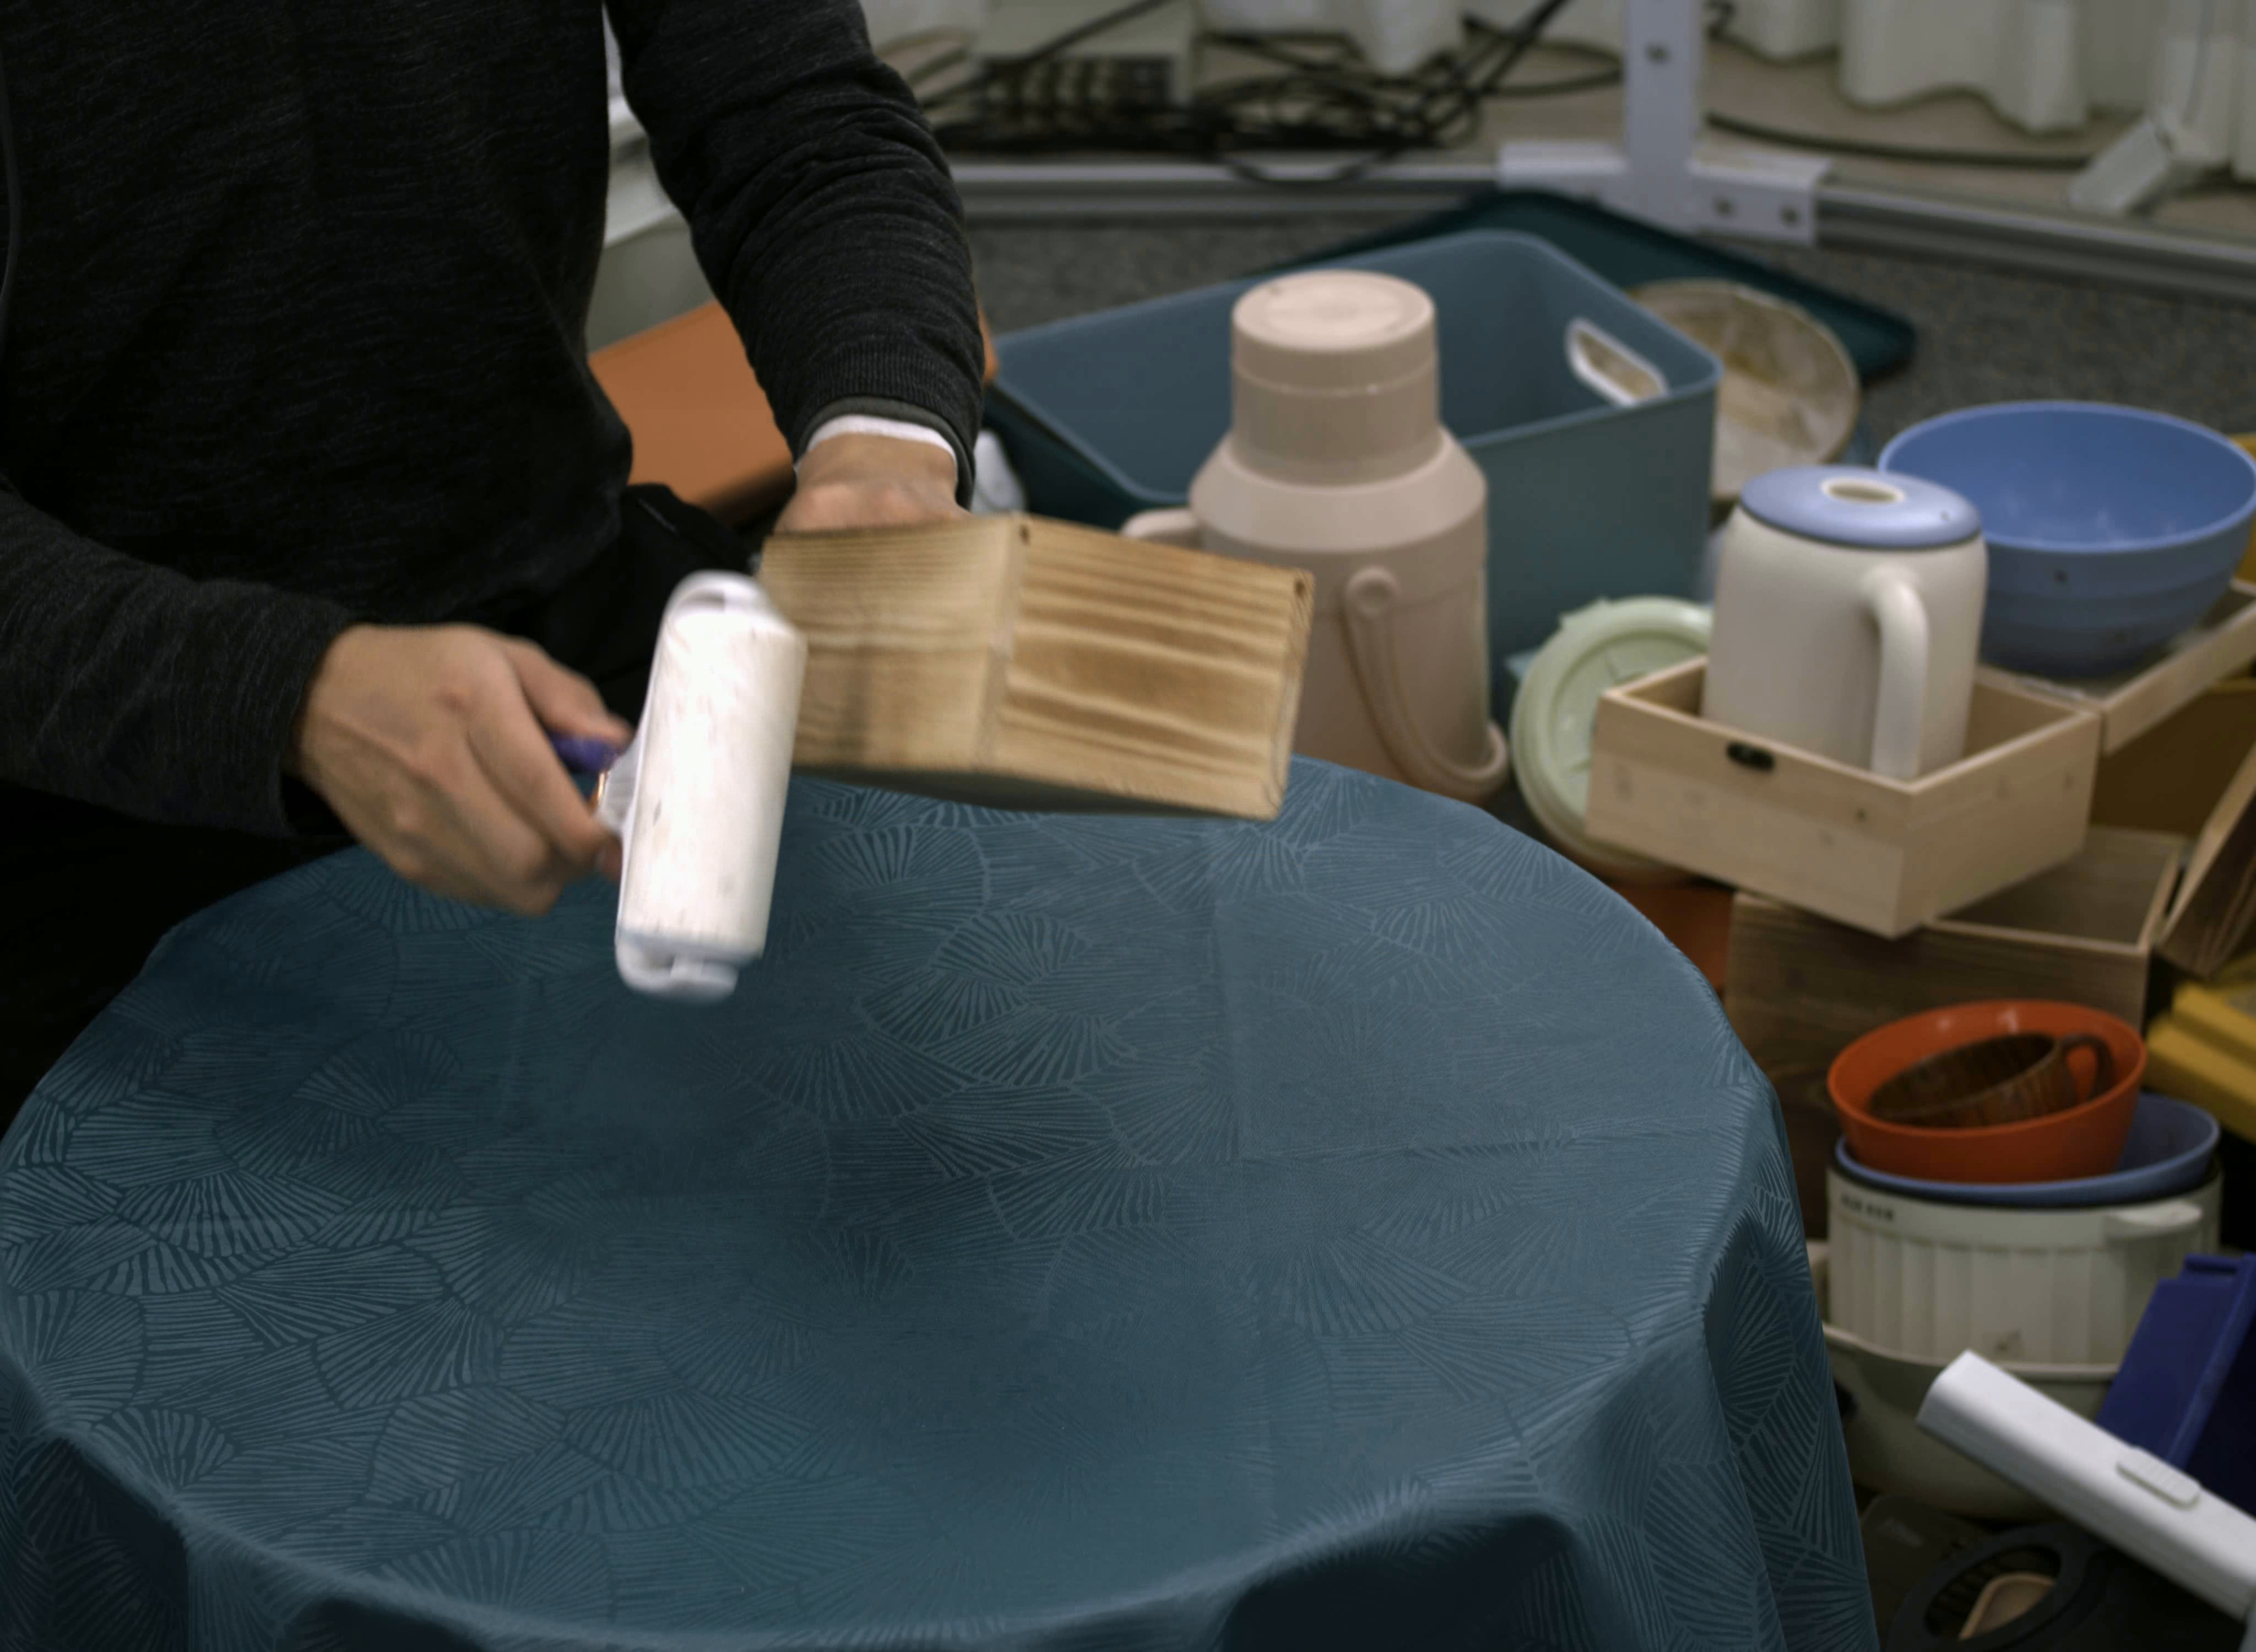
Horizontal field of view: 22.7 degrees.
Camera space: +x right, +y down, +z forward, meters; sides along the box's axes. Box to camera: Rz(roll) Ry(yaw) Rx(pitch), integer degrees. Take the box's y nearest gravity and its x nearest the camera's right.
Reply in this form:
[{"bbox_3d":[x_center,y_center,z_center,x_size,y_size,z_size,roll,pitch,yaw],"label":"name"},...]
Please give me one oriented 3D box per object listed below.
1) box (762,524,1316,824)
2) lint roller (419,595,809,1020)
[{"bbox_3d":[-0.036,-0.047,1.828,0.107,0.081,0.210,9,-4,-25],"label":"box"},{"bbox_3d":[-0.178,-0.010,1.806,0.179,0.134,0.050,5,-8,41],"label":"lint roller"}]
